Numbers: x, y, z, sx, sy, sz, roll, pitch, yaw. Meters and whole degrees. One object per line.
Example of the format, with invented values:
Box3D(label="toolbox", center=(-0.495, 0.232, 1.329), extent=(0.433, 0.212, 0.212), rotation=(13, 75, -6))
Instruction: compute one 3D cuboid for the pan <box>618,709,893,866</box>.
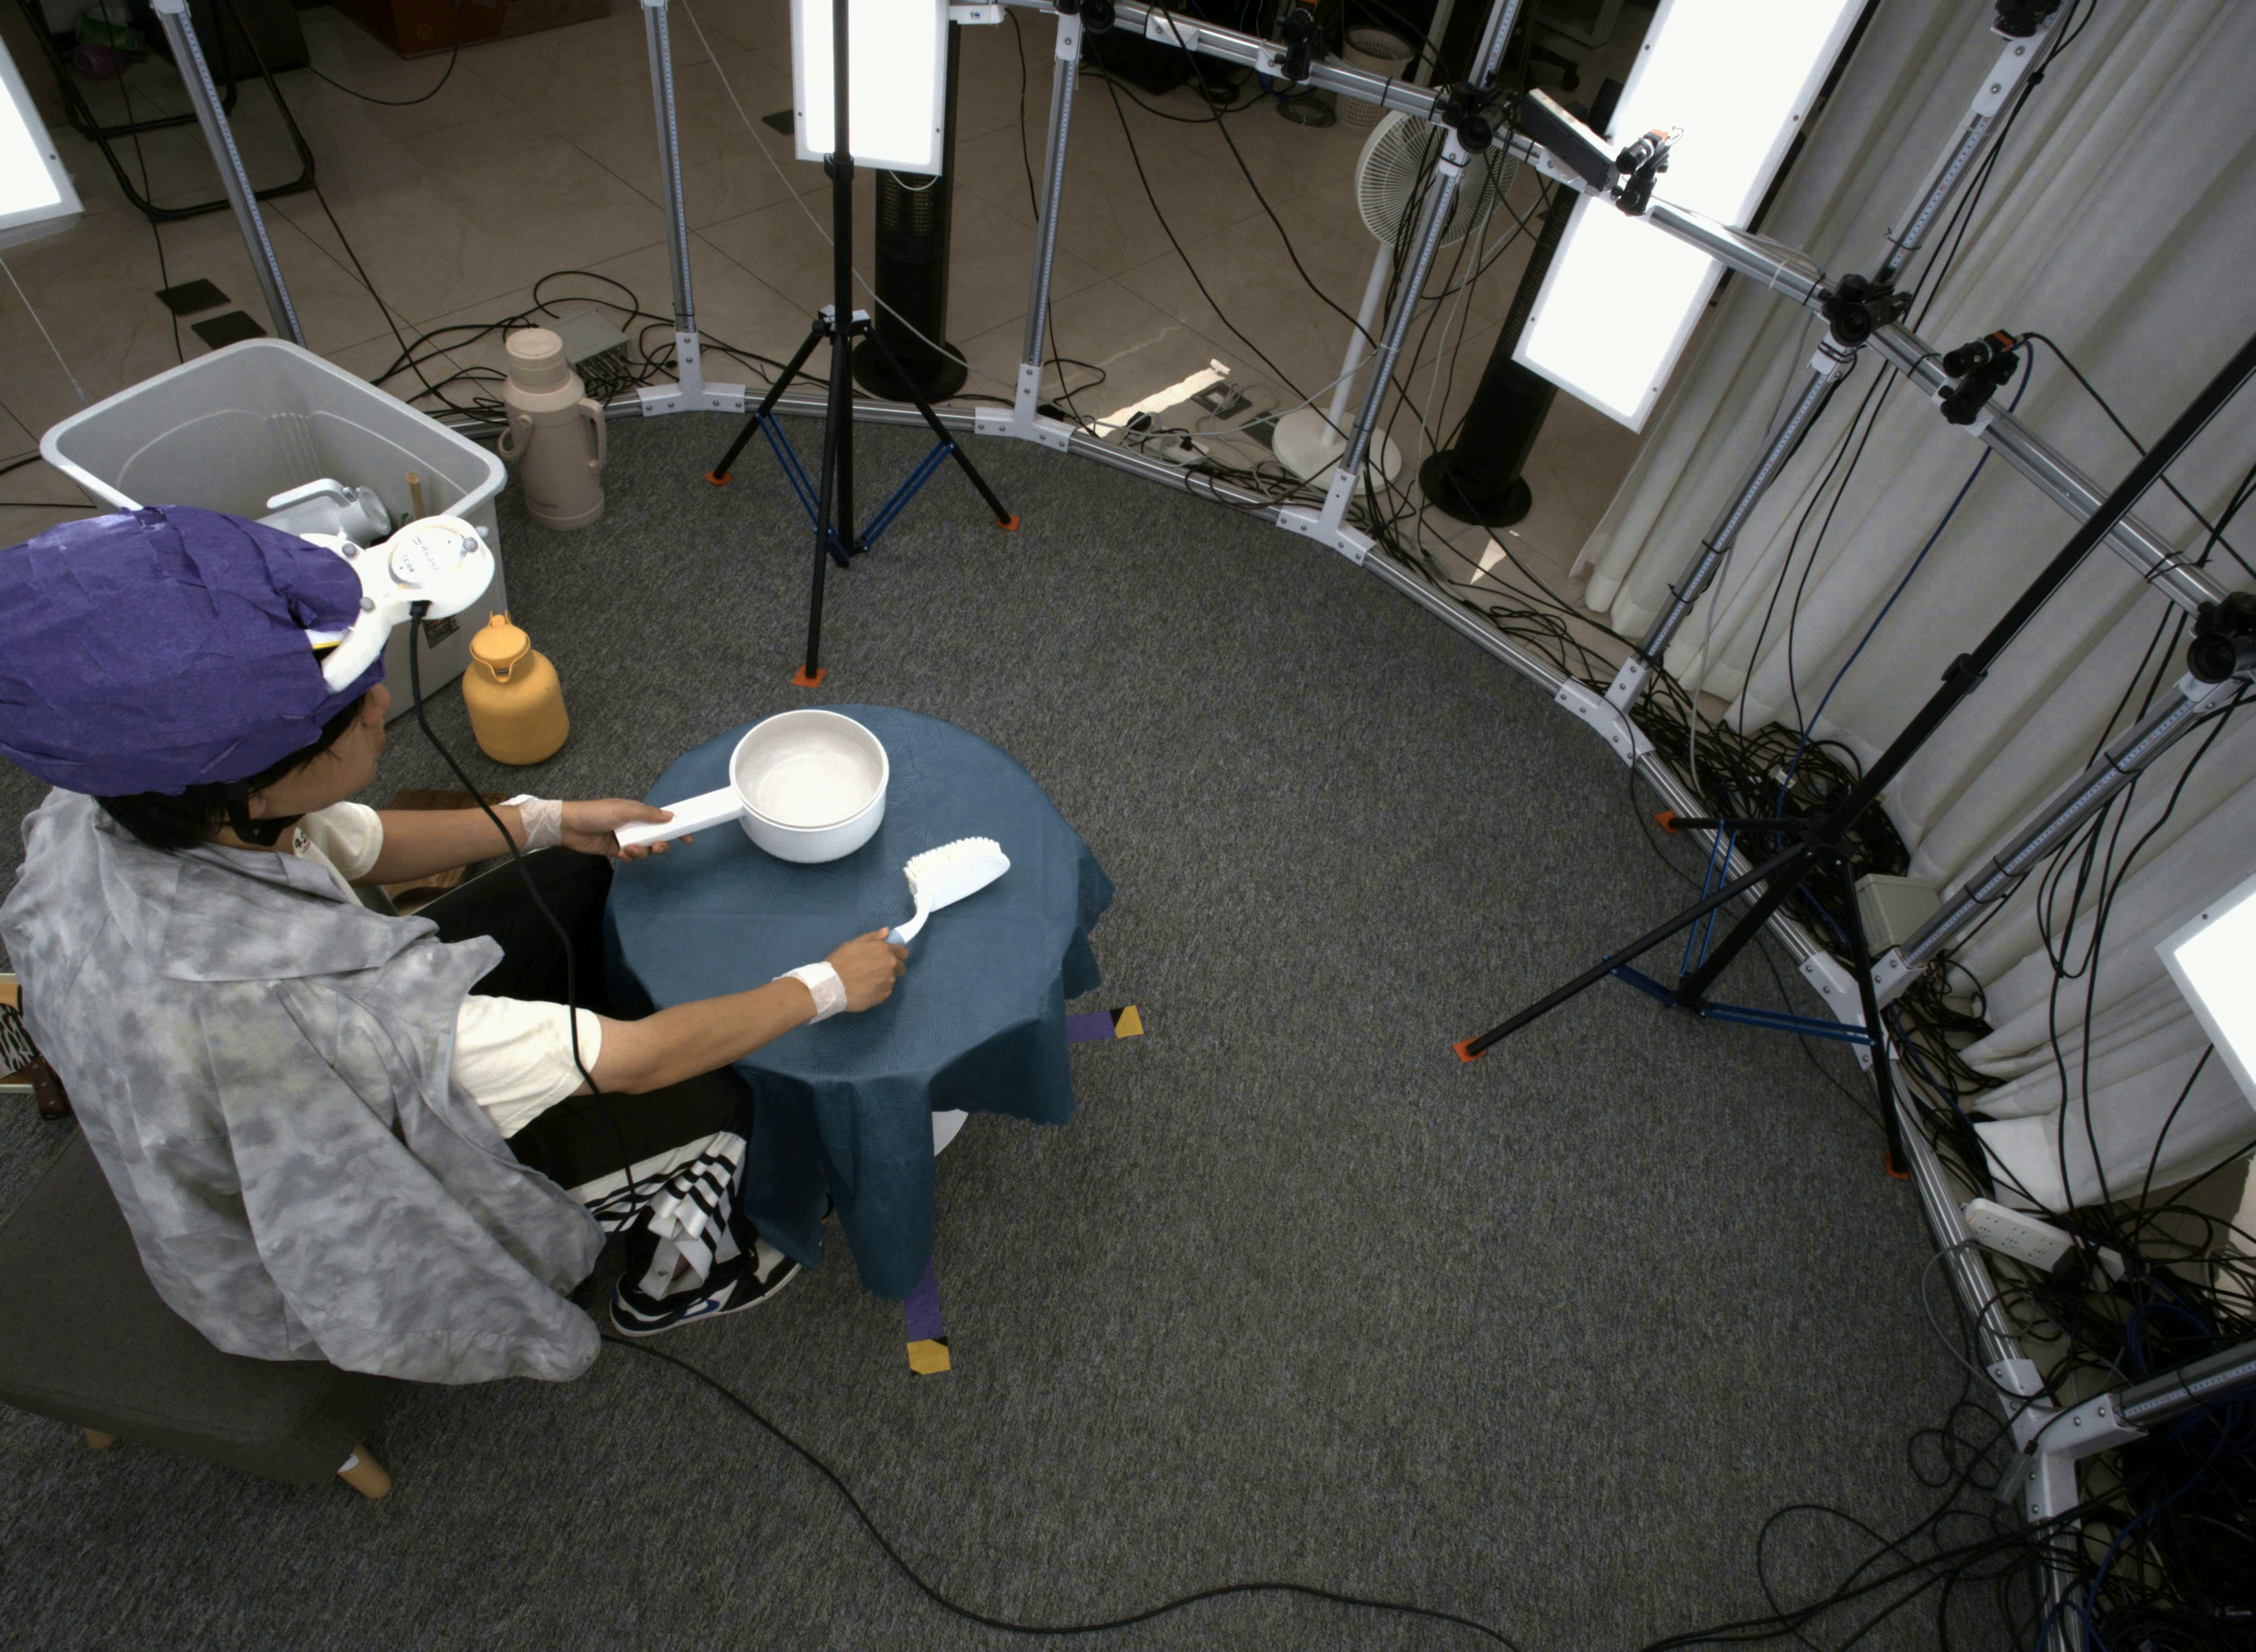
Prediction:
Box3D(label="pan", center=(-0.474, -0.020, 1.666), extent=(0.356, 0.104, 0.196), rotation=(-22, 62, -26))

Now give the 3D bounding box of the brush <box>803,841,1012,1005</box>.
Box3D(label="brush", center=(-0.289, 0.107, 1.634), extent=(0.326, 0.082, 0.085), rotation=(-35, 105, -30))
